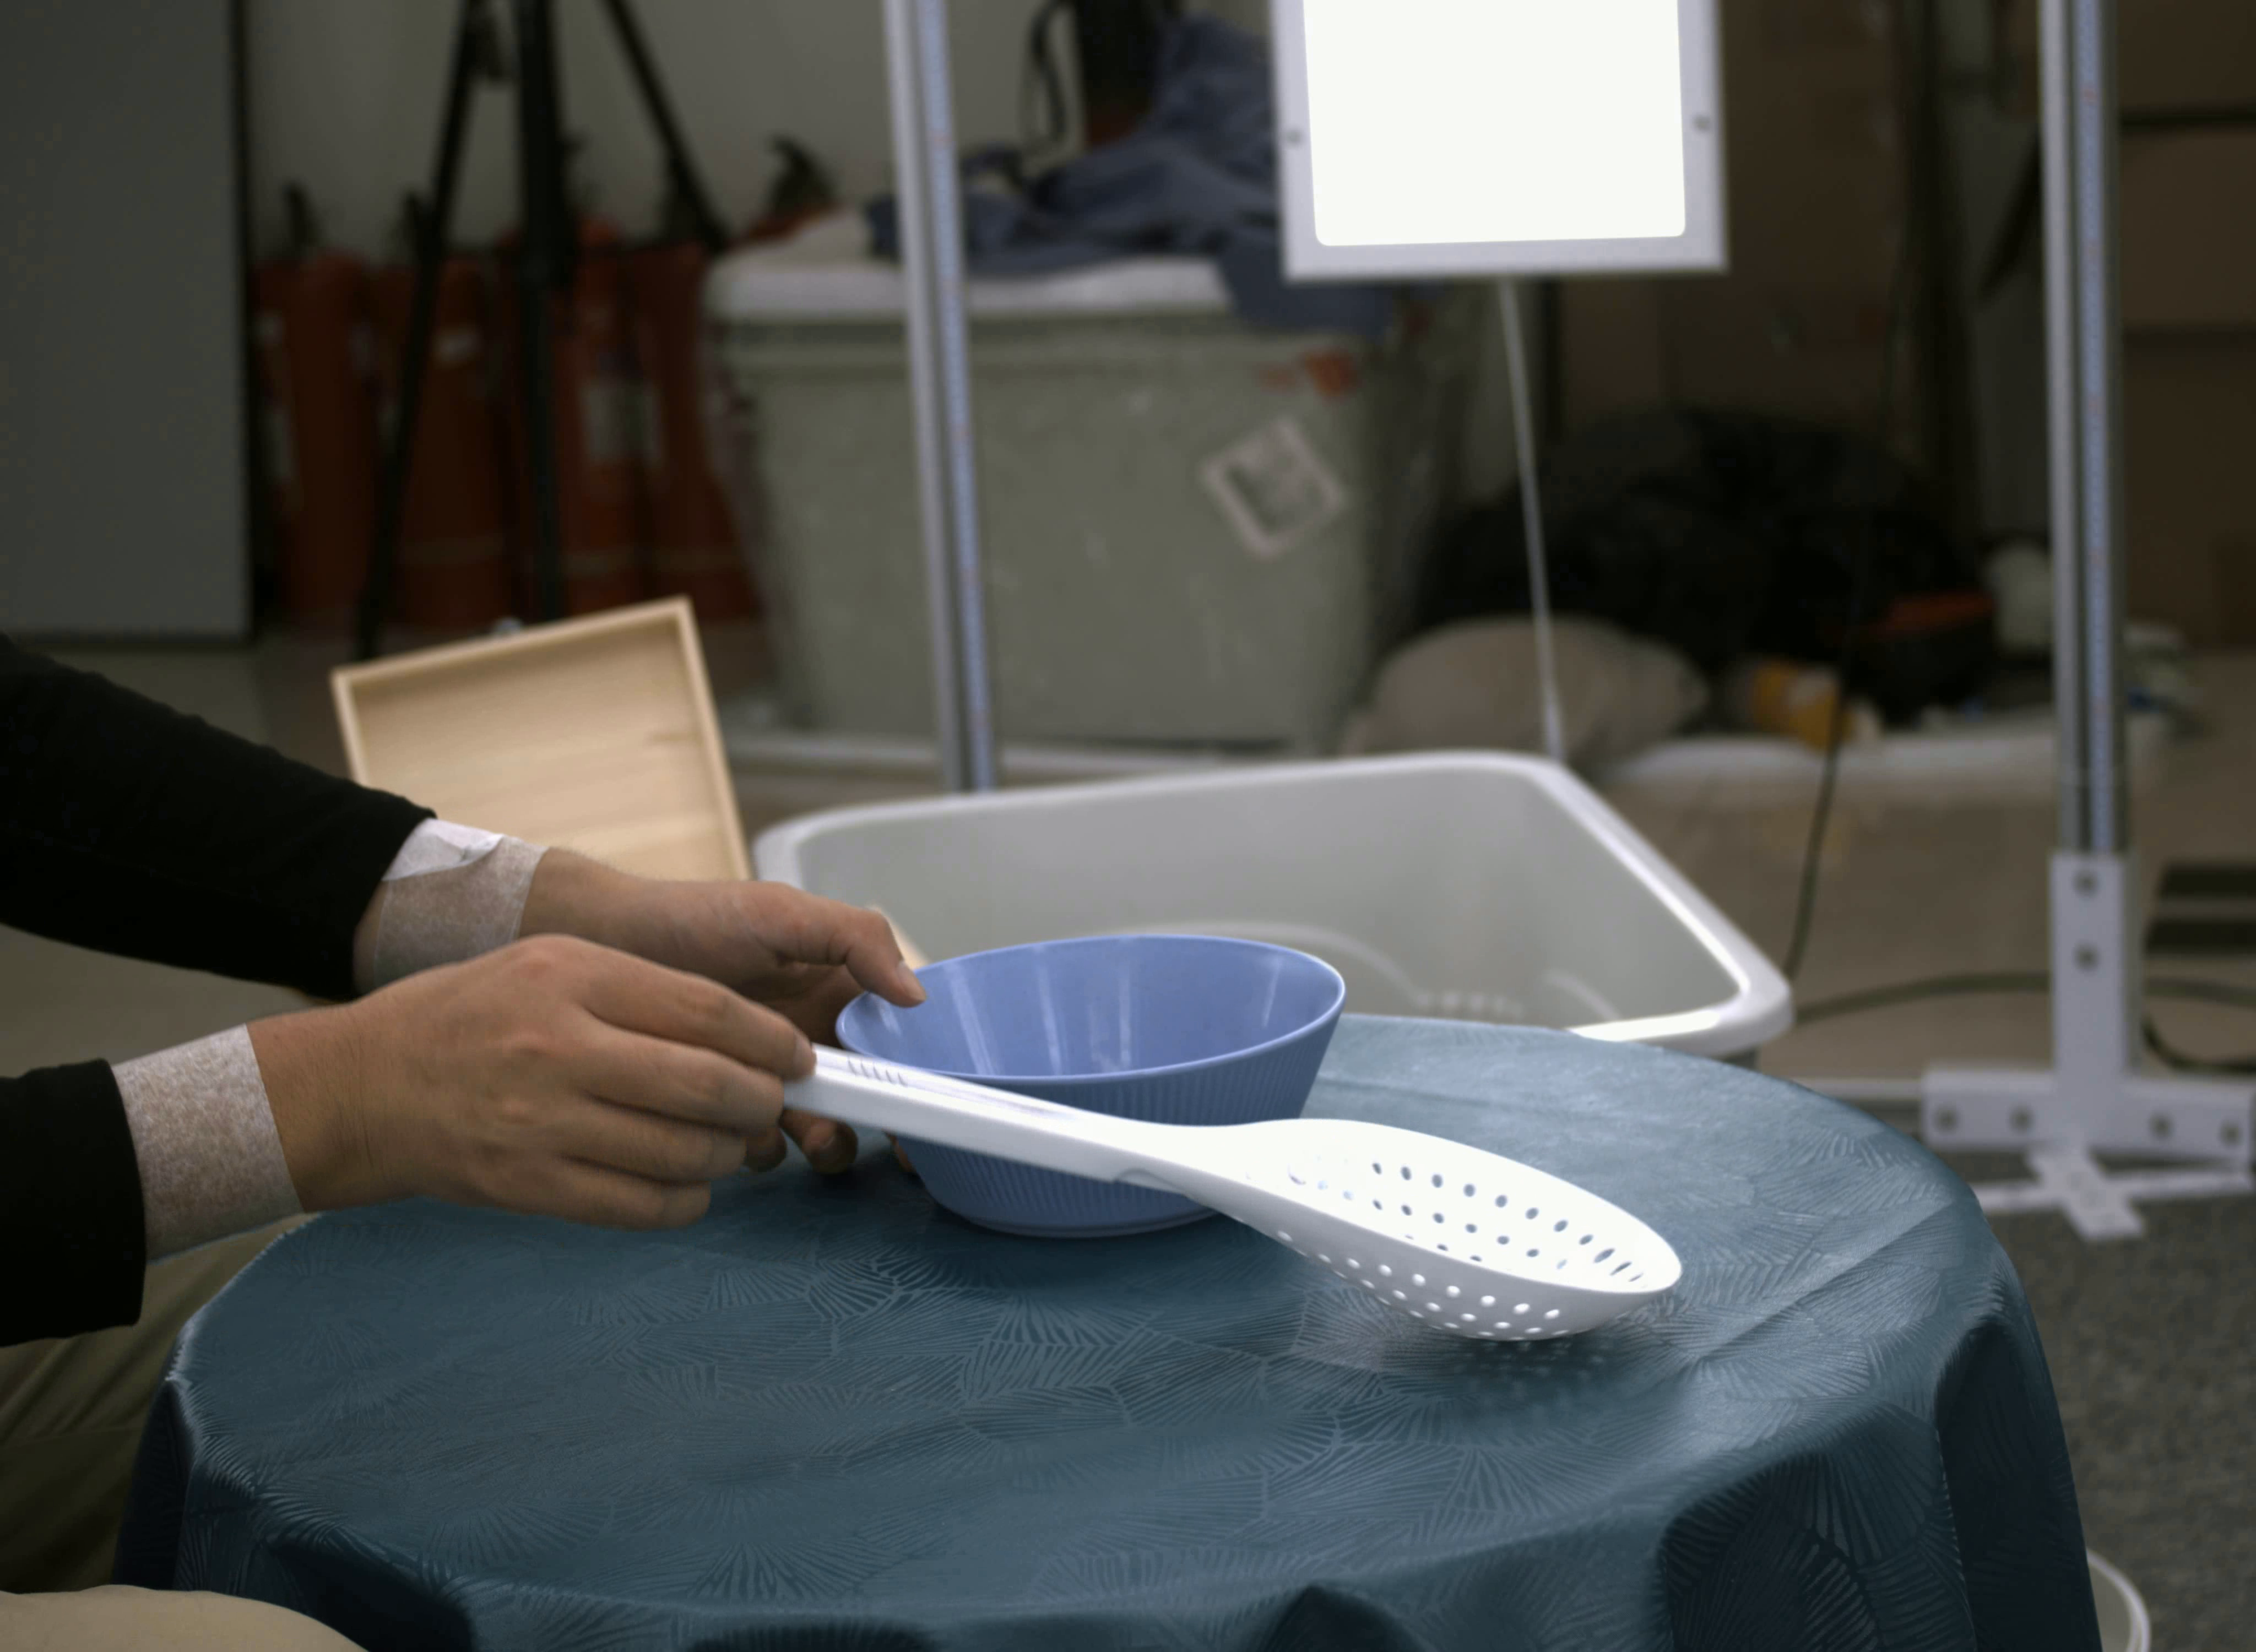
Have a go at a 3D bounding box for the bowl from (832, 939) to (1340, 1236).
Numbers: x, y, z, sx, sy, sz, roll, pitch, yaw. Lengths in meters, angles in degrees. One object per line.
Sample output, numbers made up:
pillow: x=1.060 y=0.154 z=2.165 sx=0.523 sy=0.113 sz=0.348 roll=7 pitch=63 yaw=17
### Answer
bowl: x=-0.012 y=0.092 z=1.895 sx=0.175 sy=0.070 sz=0.176 roll=-6 pitch=14 yaw=0

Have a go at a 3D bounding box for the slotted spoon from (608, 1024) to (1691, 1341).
slotted spoon: x=0.009 y=0.103 z=1.689 sx=0.345 sy=0.046 sz=0.137 roll=17 pitch=12 yaw=-17
